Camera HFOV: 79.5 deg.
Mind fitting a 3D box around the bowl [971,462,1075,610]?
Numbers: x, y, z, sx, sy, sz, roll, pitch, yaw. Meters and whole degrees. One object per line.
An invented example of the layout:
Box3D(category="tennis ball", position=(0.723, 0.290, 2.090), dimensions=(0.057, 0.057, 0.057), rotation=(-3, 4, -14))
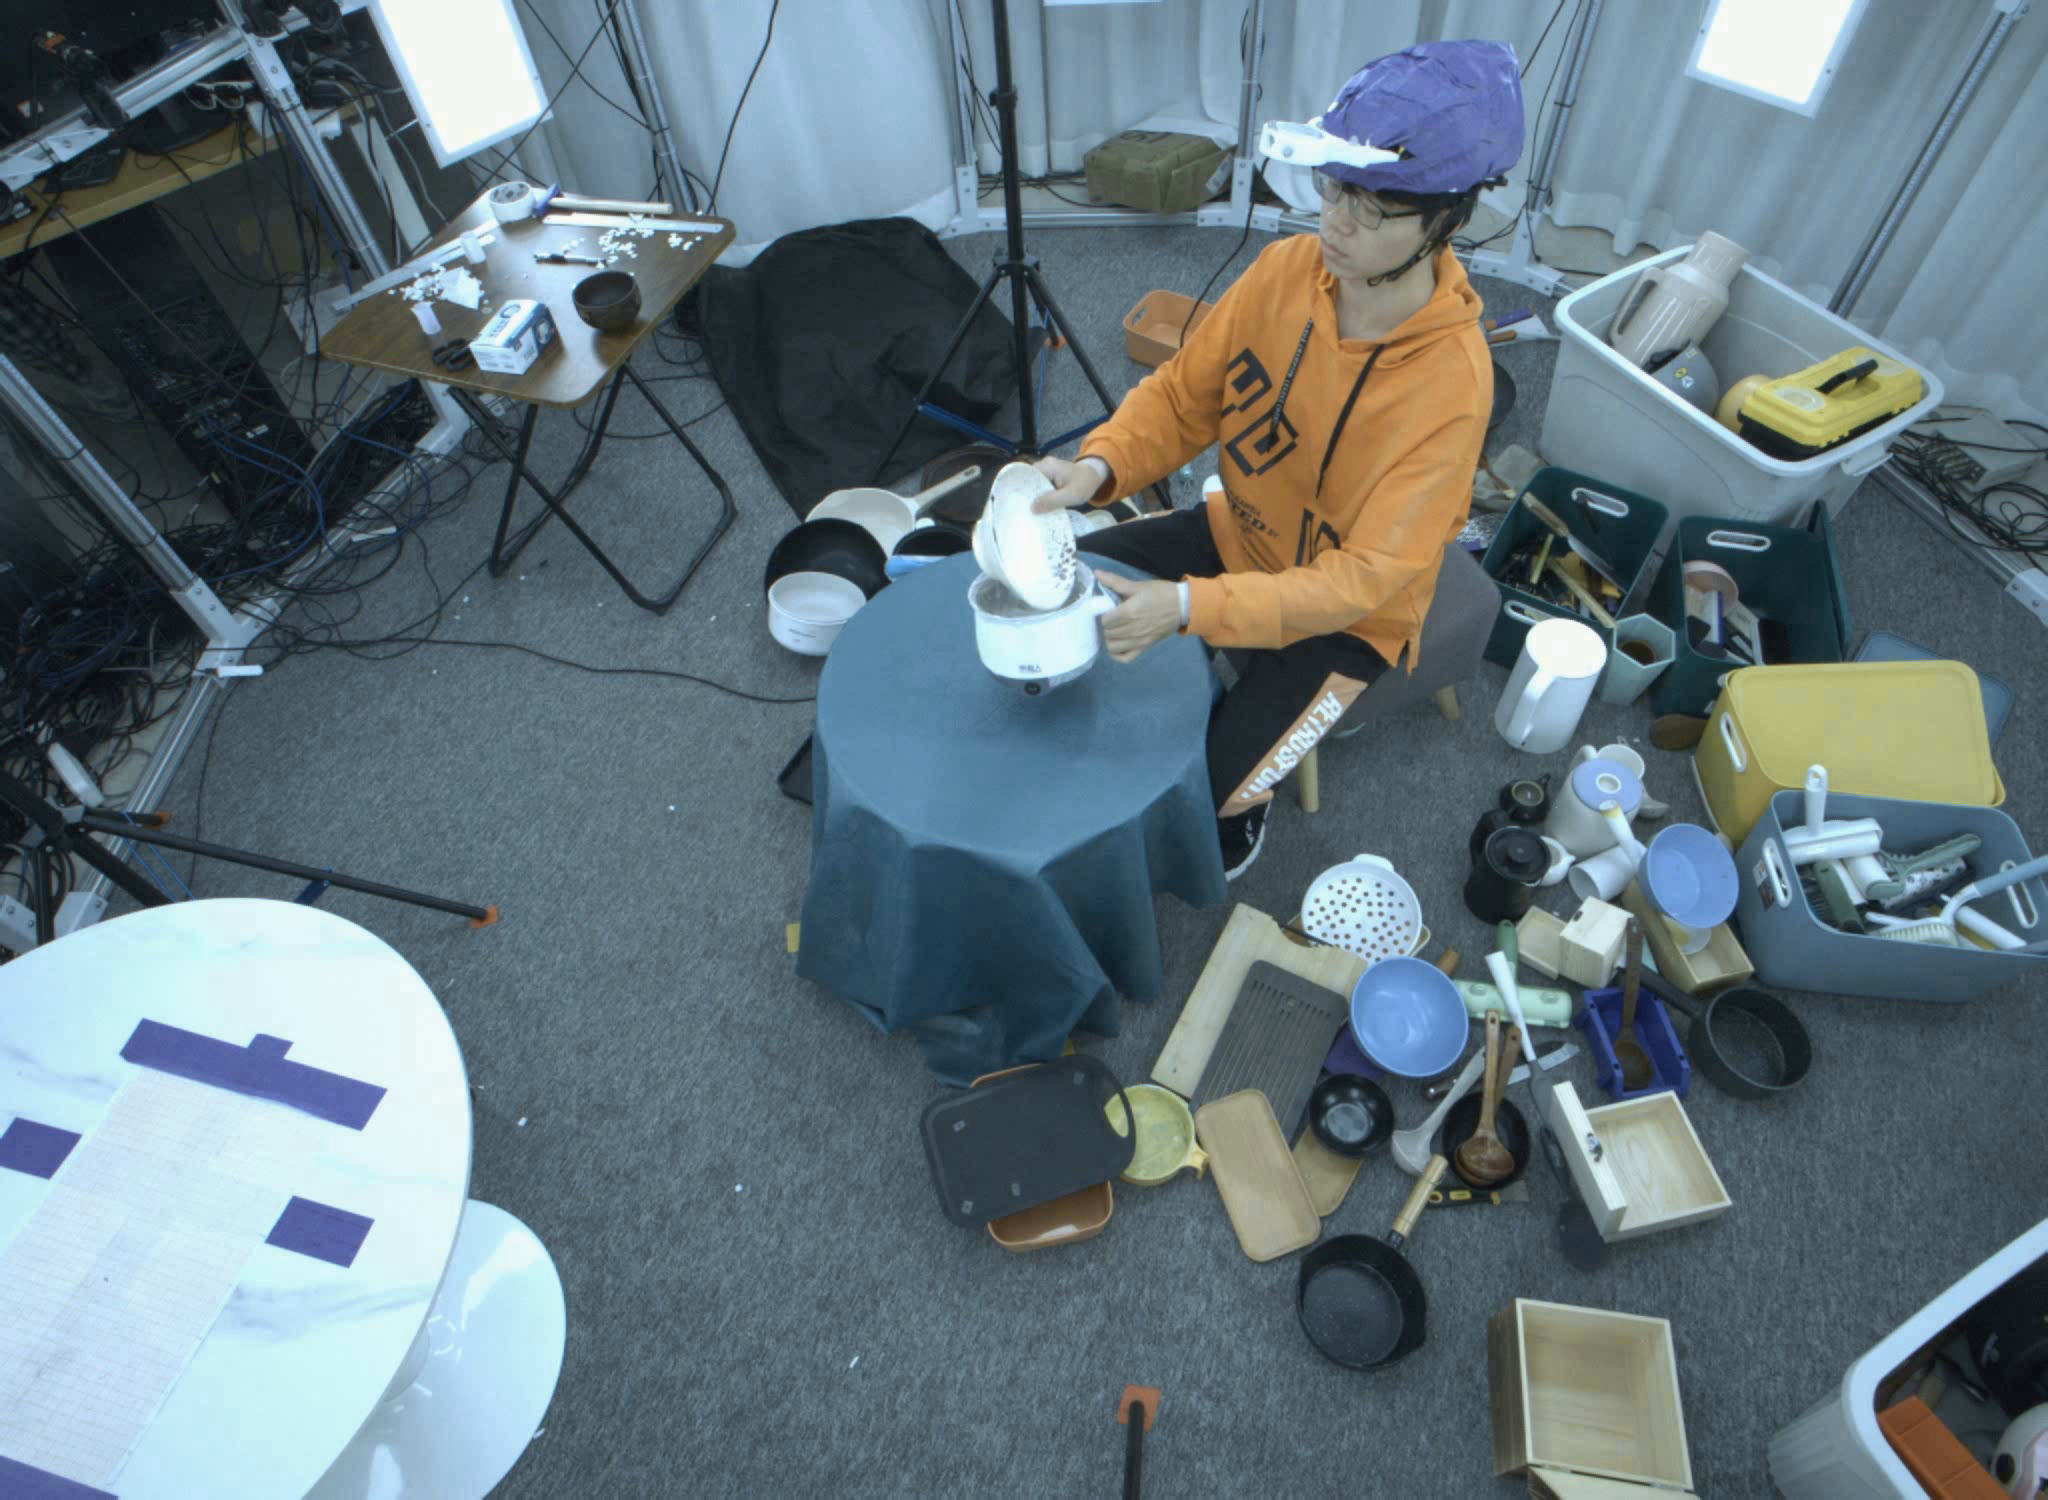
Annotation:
Box3D(category="bowl", position=(-0.017, -0.282, 1.663), dimensions=(0.076, 0.208, 0.203), rotation=(-10, 50, 32))

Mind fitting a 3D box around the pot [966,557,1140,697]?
Box3D(category="pot", position=(0.043, -0.179, 1.733), dimensions=(0.232, 0.138, 0.177), rotation=(-2, 40, 10))
